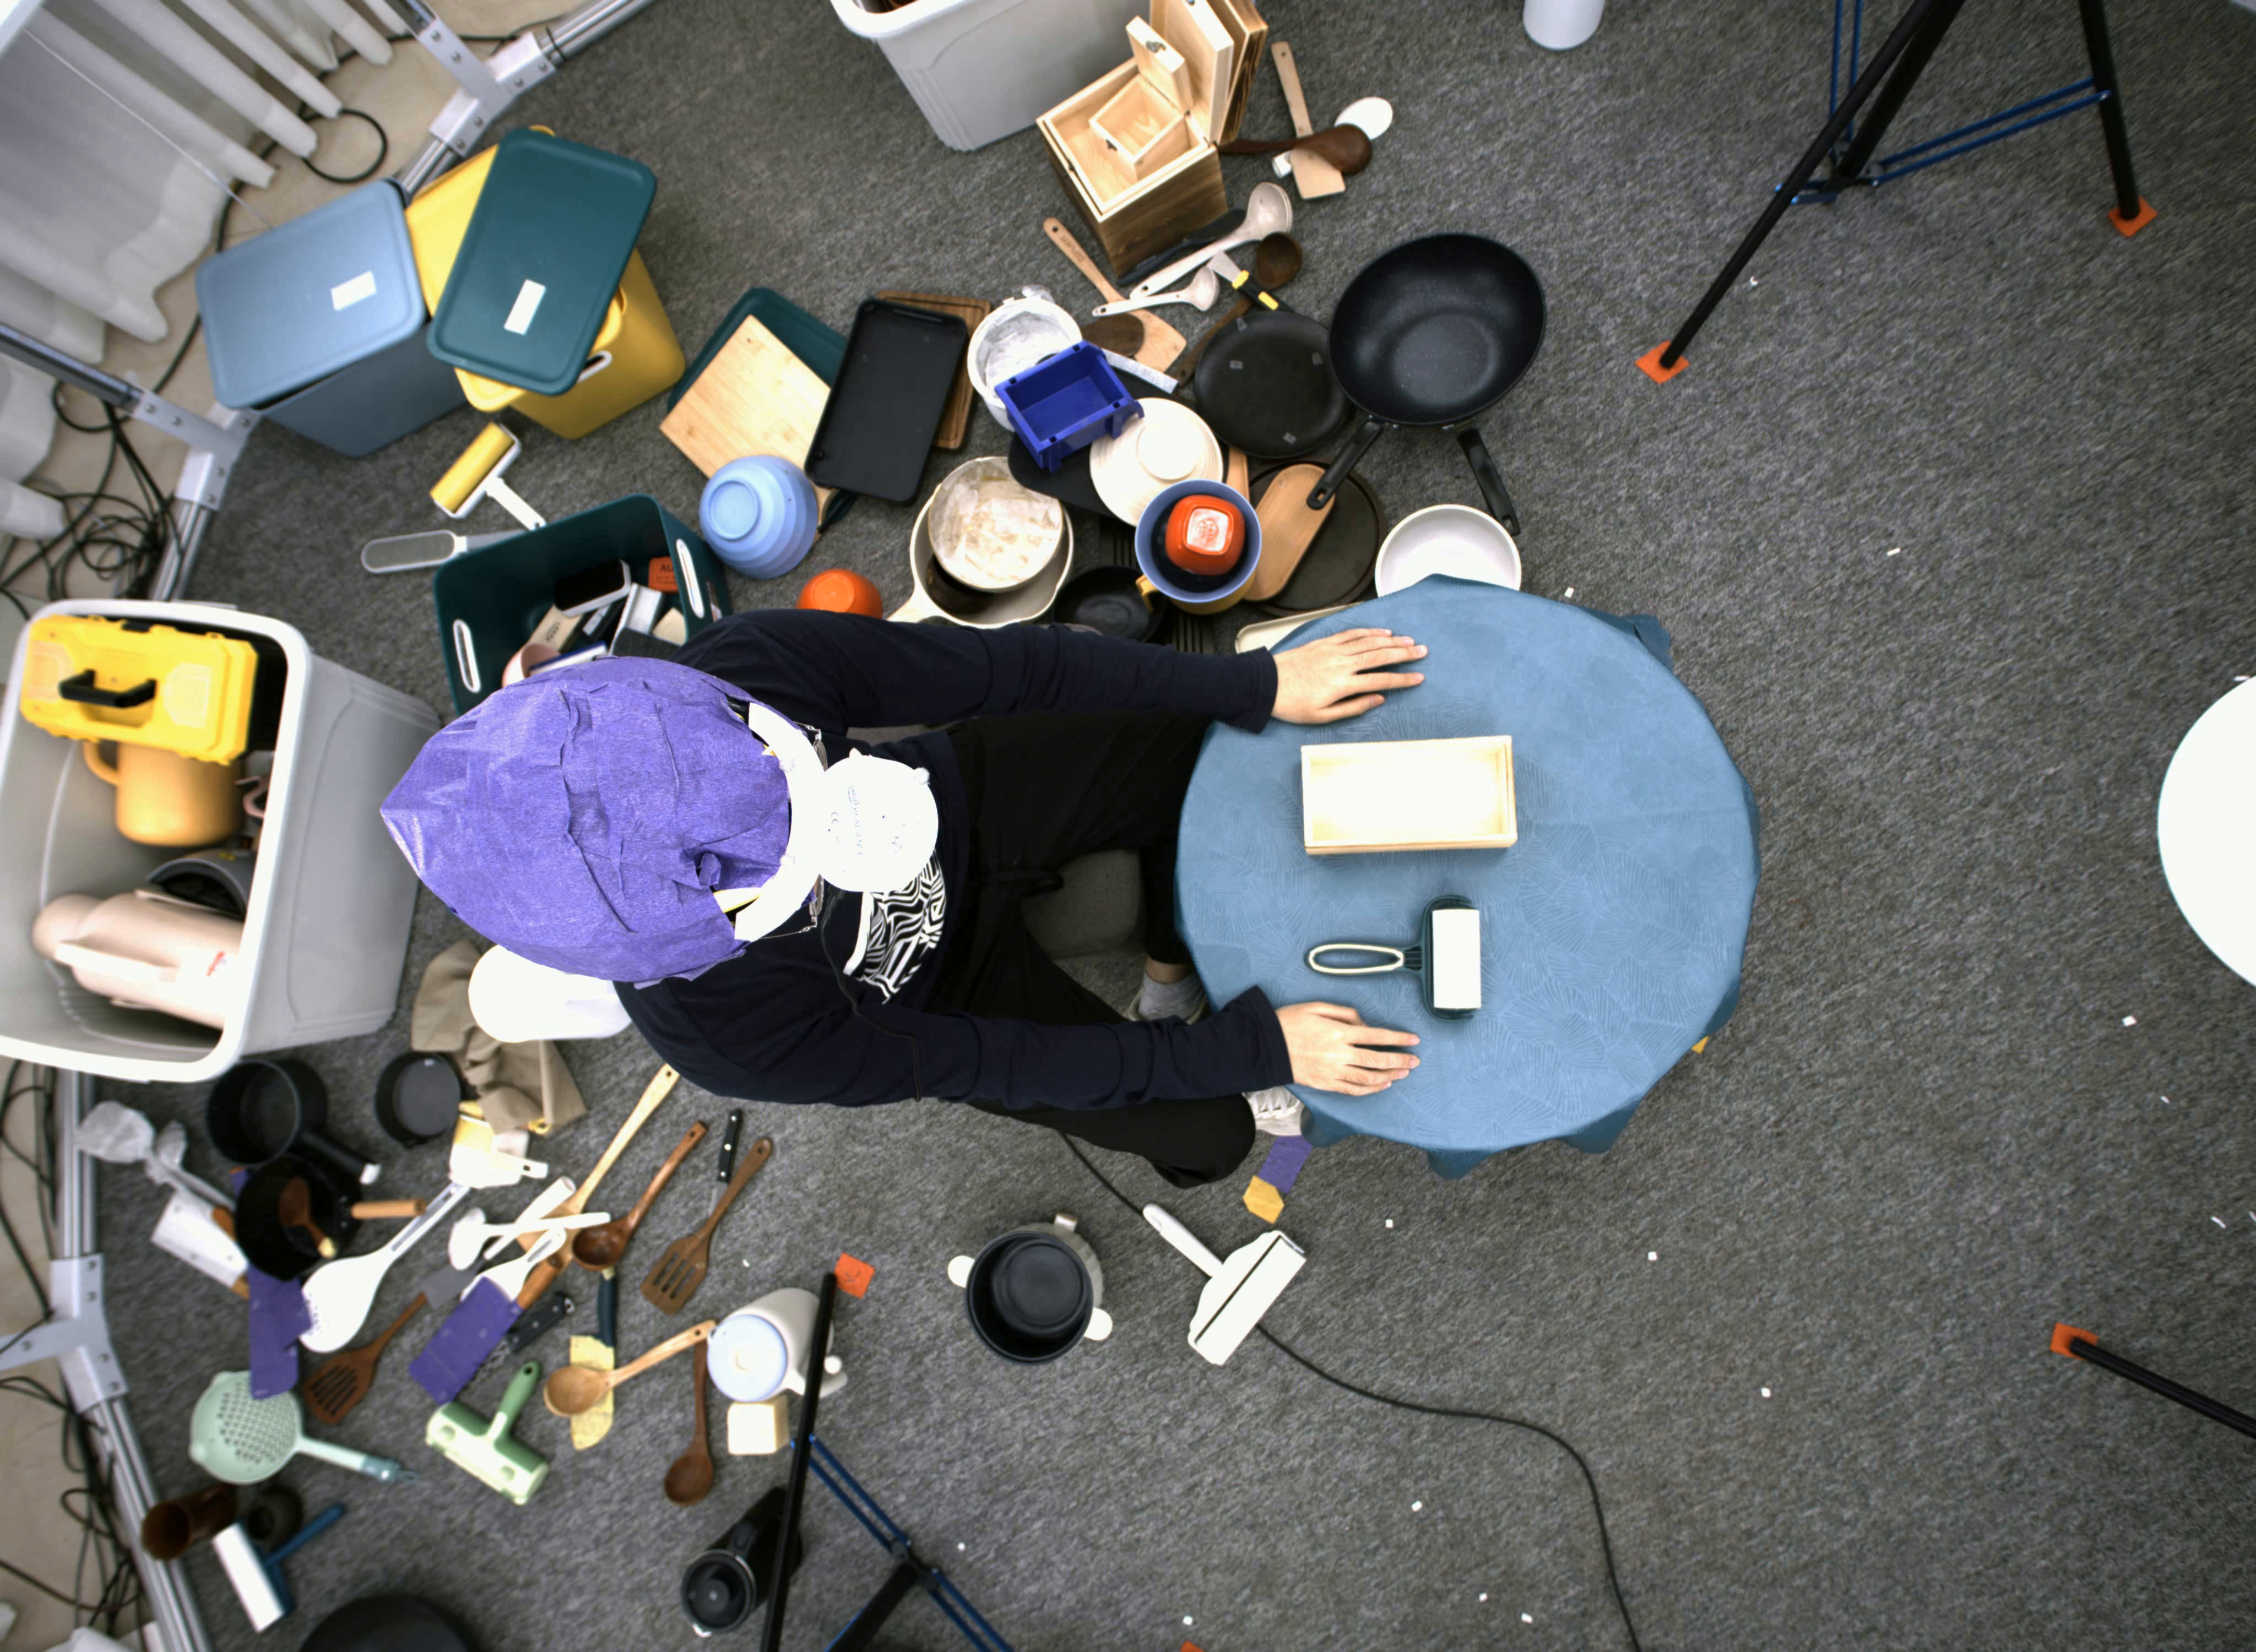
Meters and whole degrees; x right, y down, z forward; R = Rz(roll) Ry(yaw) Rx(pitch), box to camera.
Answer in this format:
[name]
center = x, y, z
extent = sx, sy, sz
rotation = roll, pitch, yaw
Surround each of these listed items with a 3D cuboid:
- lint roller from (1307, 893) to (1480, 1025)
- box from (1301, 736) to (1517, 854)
[lint roller]
center = 0.273, 0.137, 1.436
extent = 0.181, 0.048, 0.134
rotation = -1, 87, 15
[box]
center = 0.289, -0.031, 1.422
extent = 0.212, 0.080, 0.107
rotation = -3, 86, 12
